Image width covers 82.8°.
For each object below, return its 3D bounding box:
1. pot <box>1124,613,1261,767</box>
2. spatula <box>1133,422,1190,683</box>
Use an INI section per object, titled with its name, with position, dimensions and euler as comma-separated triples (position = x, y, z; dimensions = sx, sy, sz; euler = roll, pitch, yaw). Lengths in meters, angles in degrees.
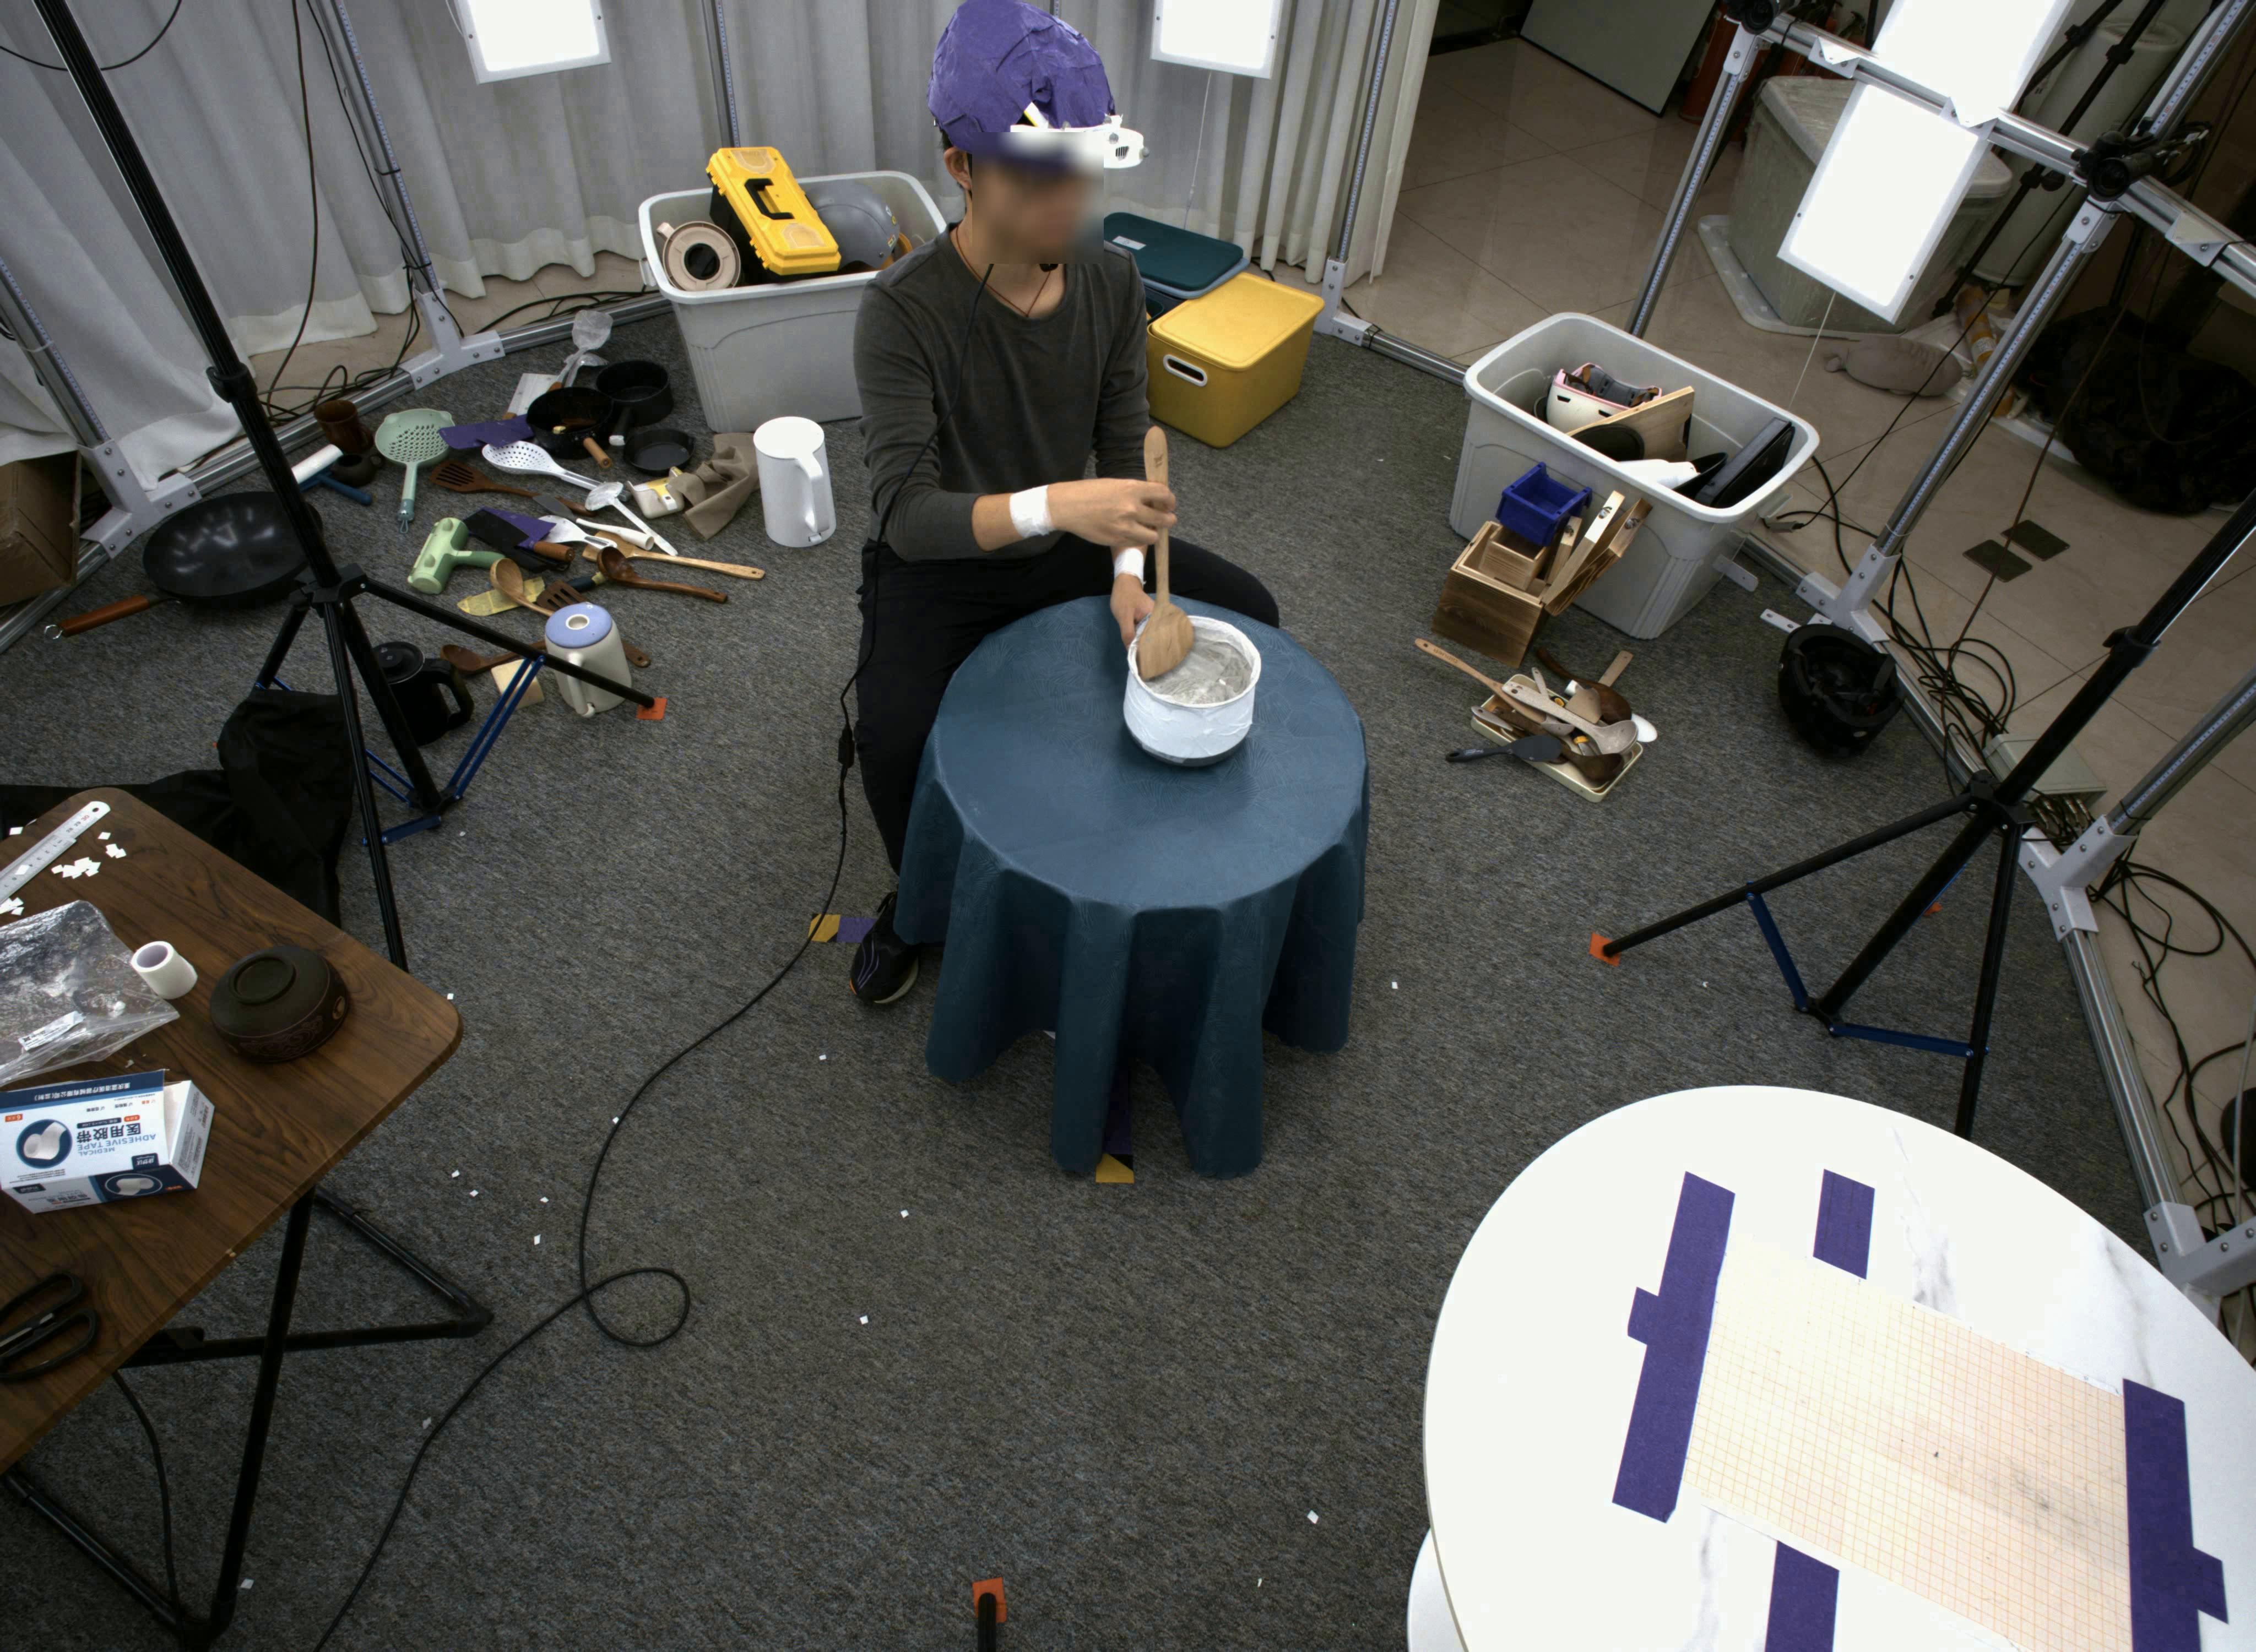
[pot]
position = 0.070, -0.197, 1.757
dimensions = 0.179, 0.133, 0.239
euler = -21, 53, -21
[spatula]
position = 0.035, -0.333, 1.618
dimensions = 0.096, 0.381, 0.019
euler = -34, 56, -22
